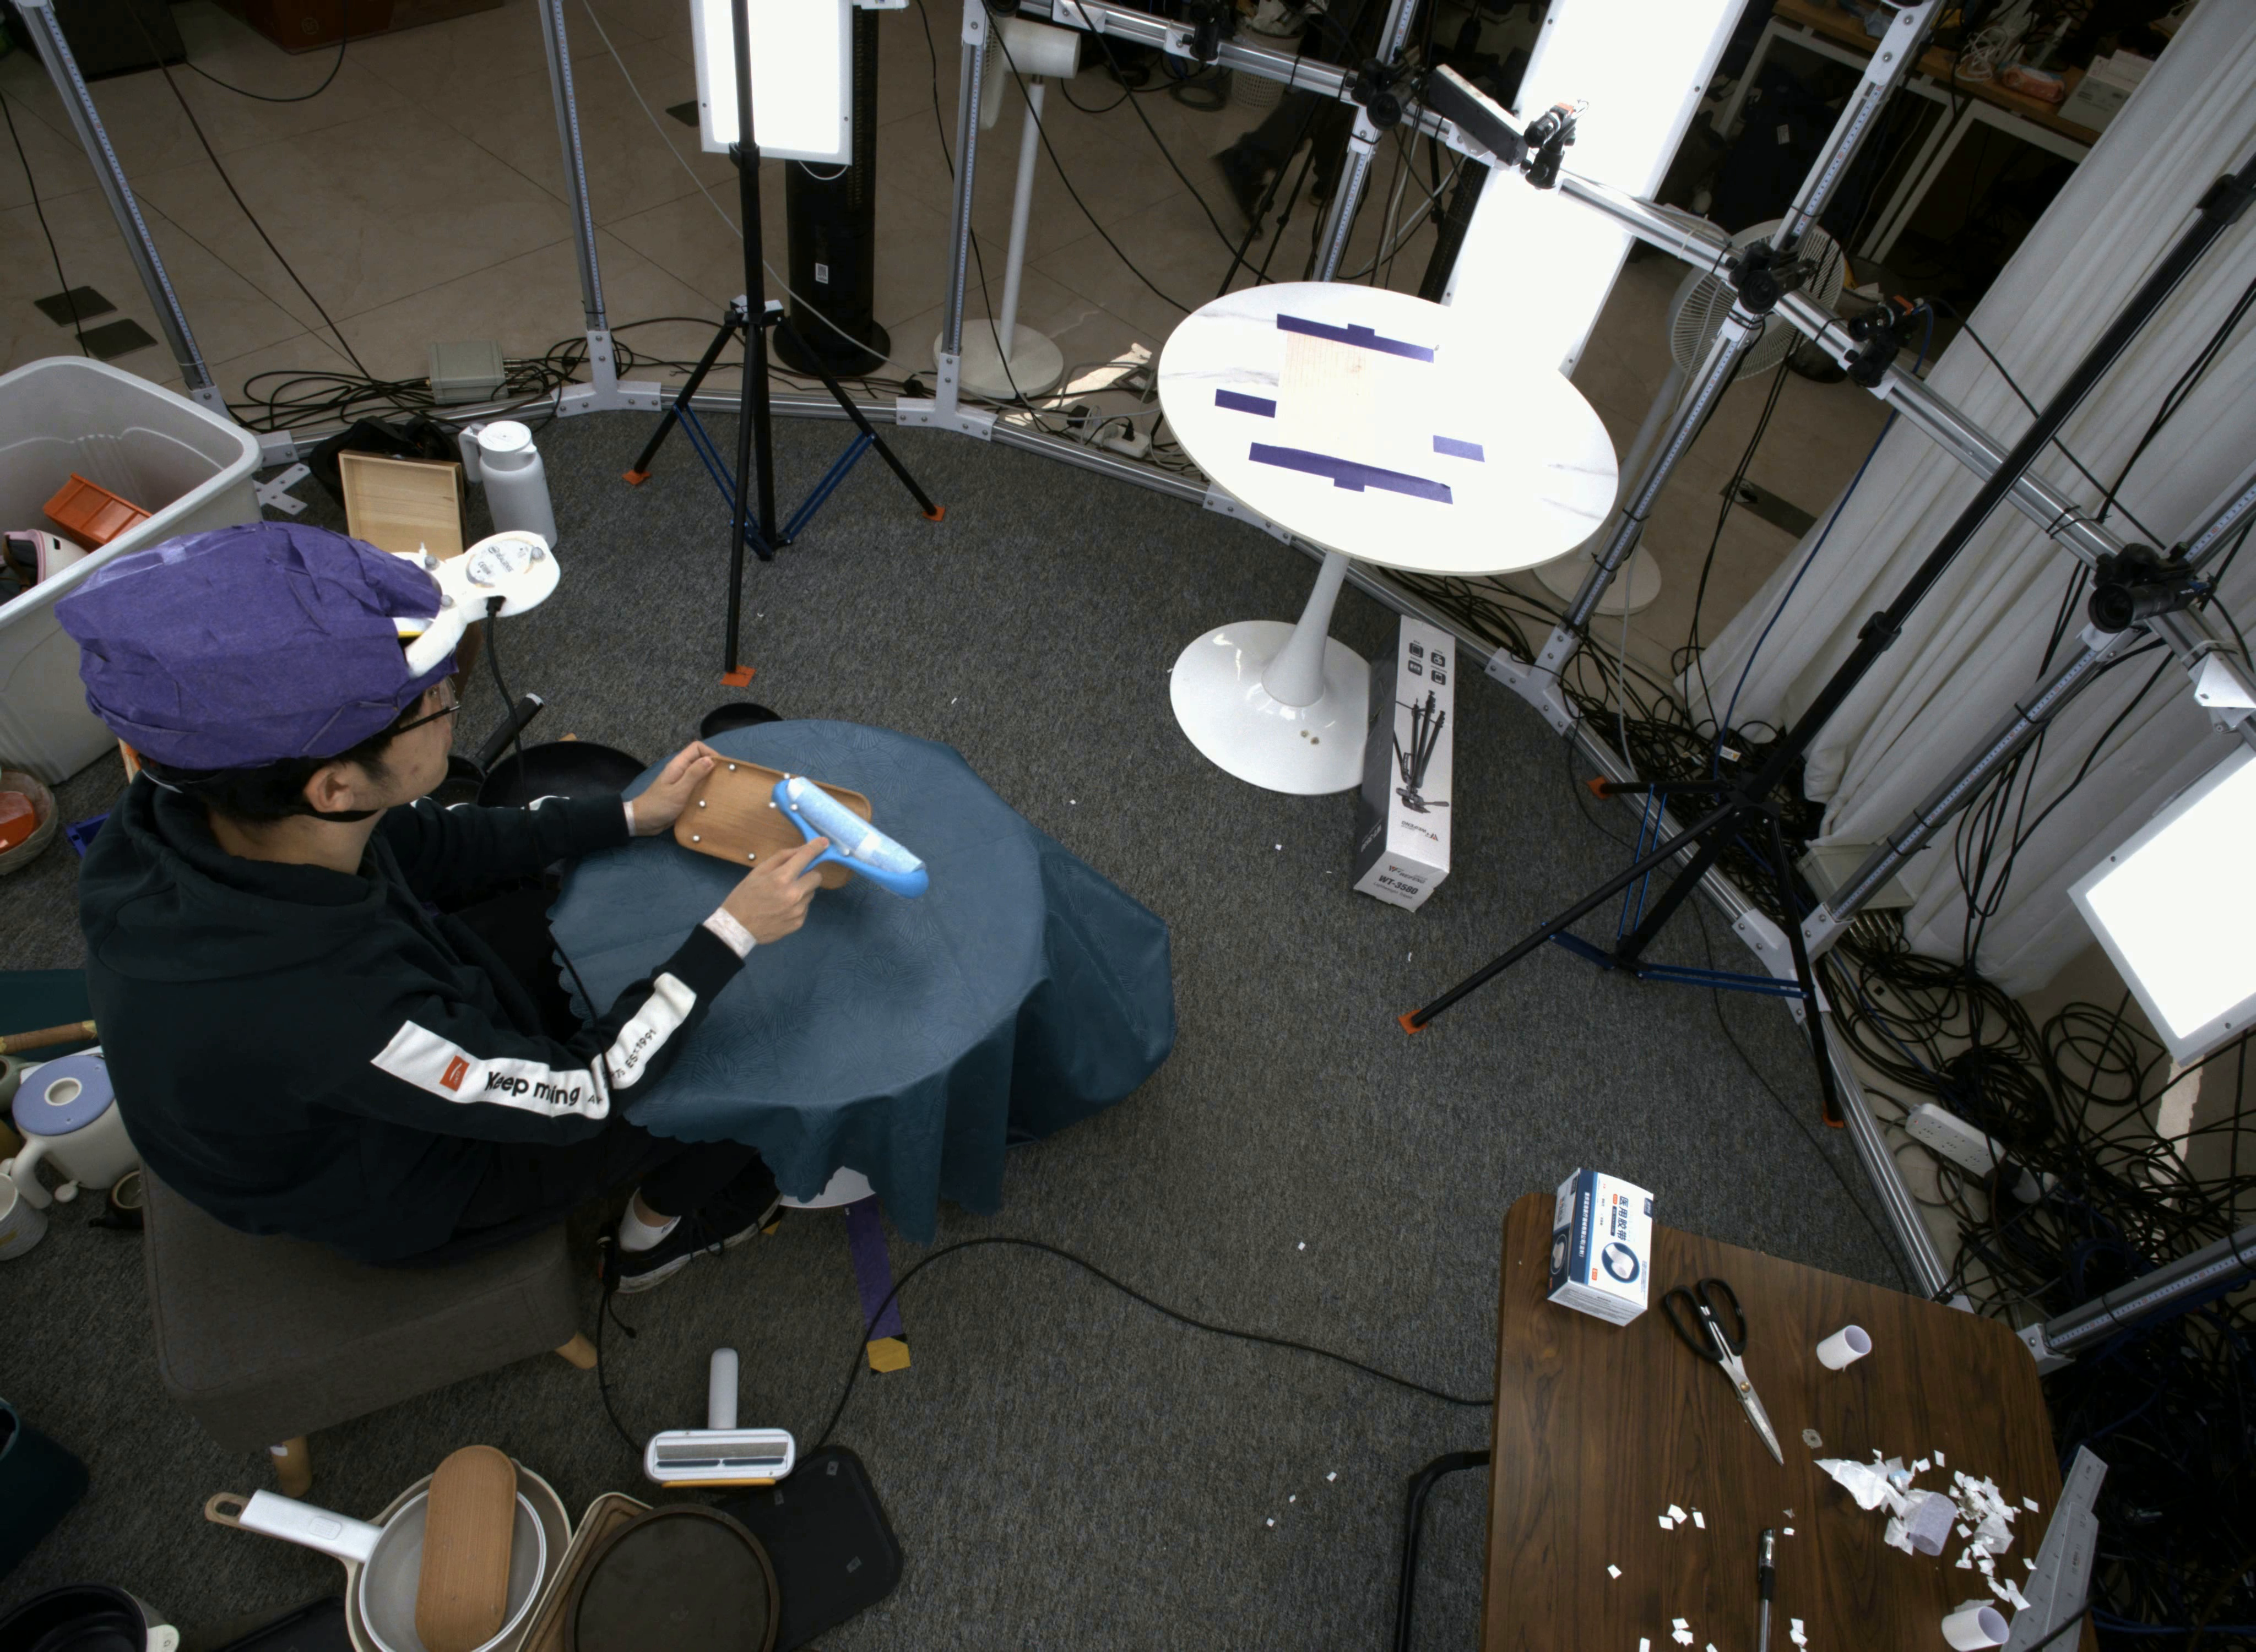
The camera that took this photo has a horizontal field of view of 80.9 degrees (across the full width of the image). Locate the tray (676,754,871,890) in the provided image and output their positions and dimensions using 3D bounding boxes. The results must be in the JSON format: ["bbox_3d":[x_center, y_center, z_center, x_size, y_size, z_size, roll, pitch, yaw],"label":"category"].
[{"bbox_3d":[-0.449,-0.008,1.638,0.246,0.023,0.131,15,84,8],"label":"tray"}]

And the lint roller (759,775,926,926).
[{"bbox_3d":[-0.368,0.044,1.539,0.226,0.069,0.179,34,48,5],"label":"lint roller"}]
